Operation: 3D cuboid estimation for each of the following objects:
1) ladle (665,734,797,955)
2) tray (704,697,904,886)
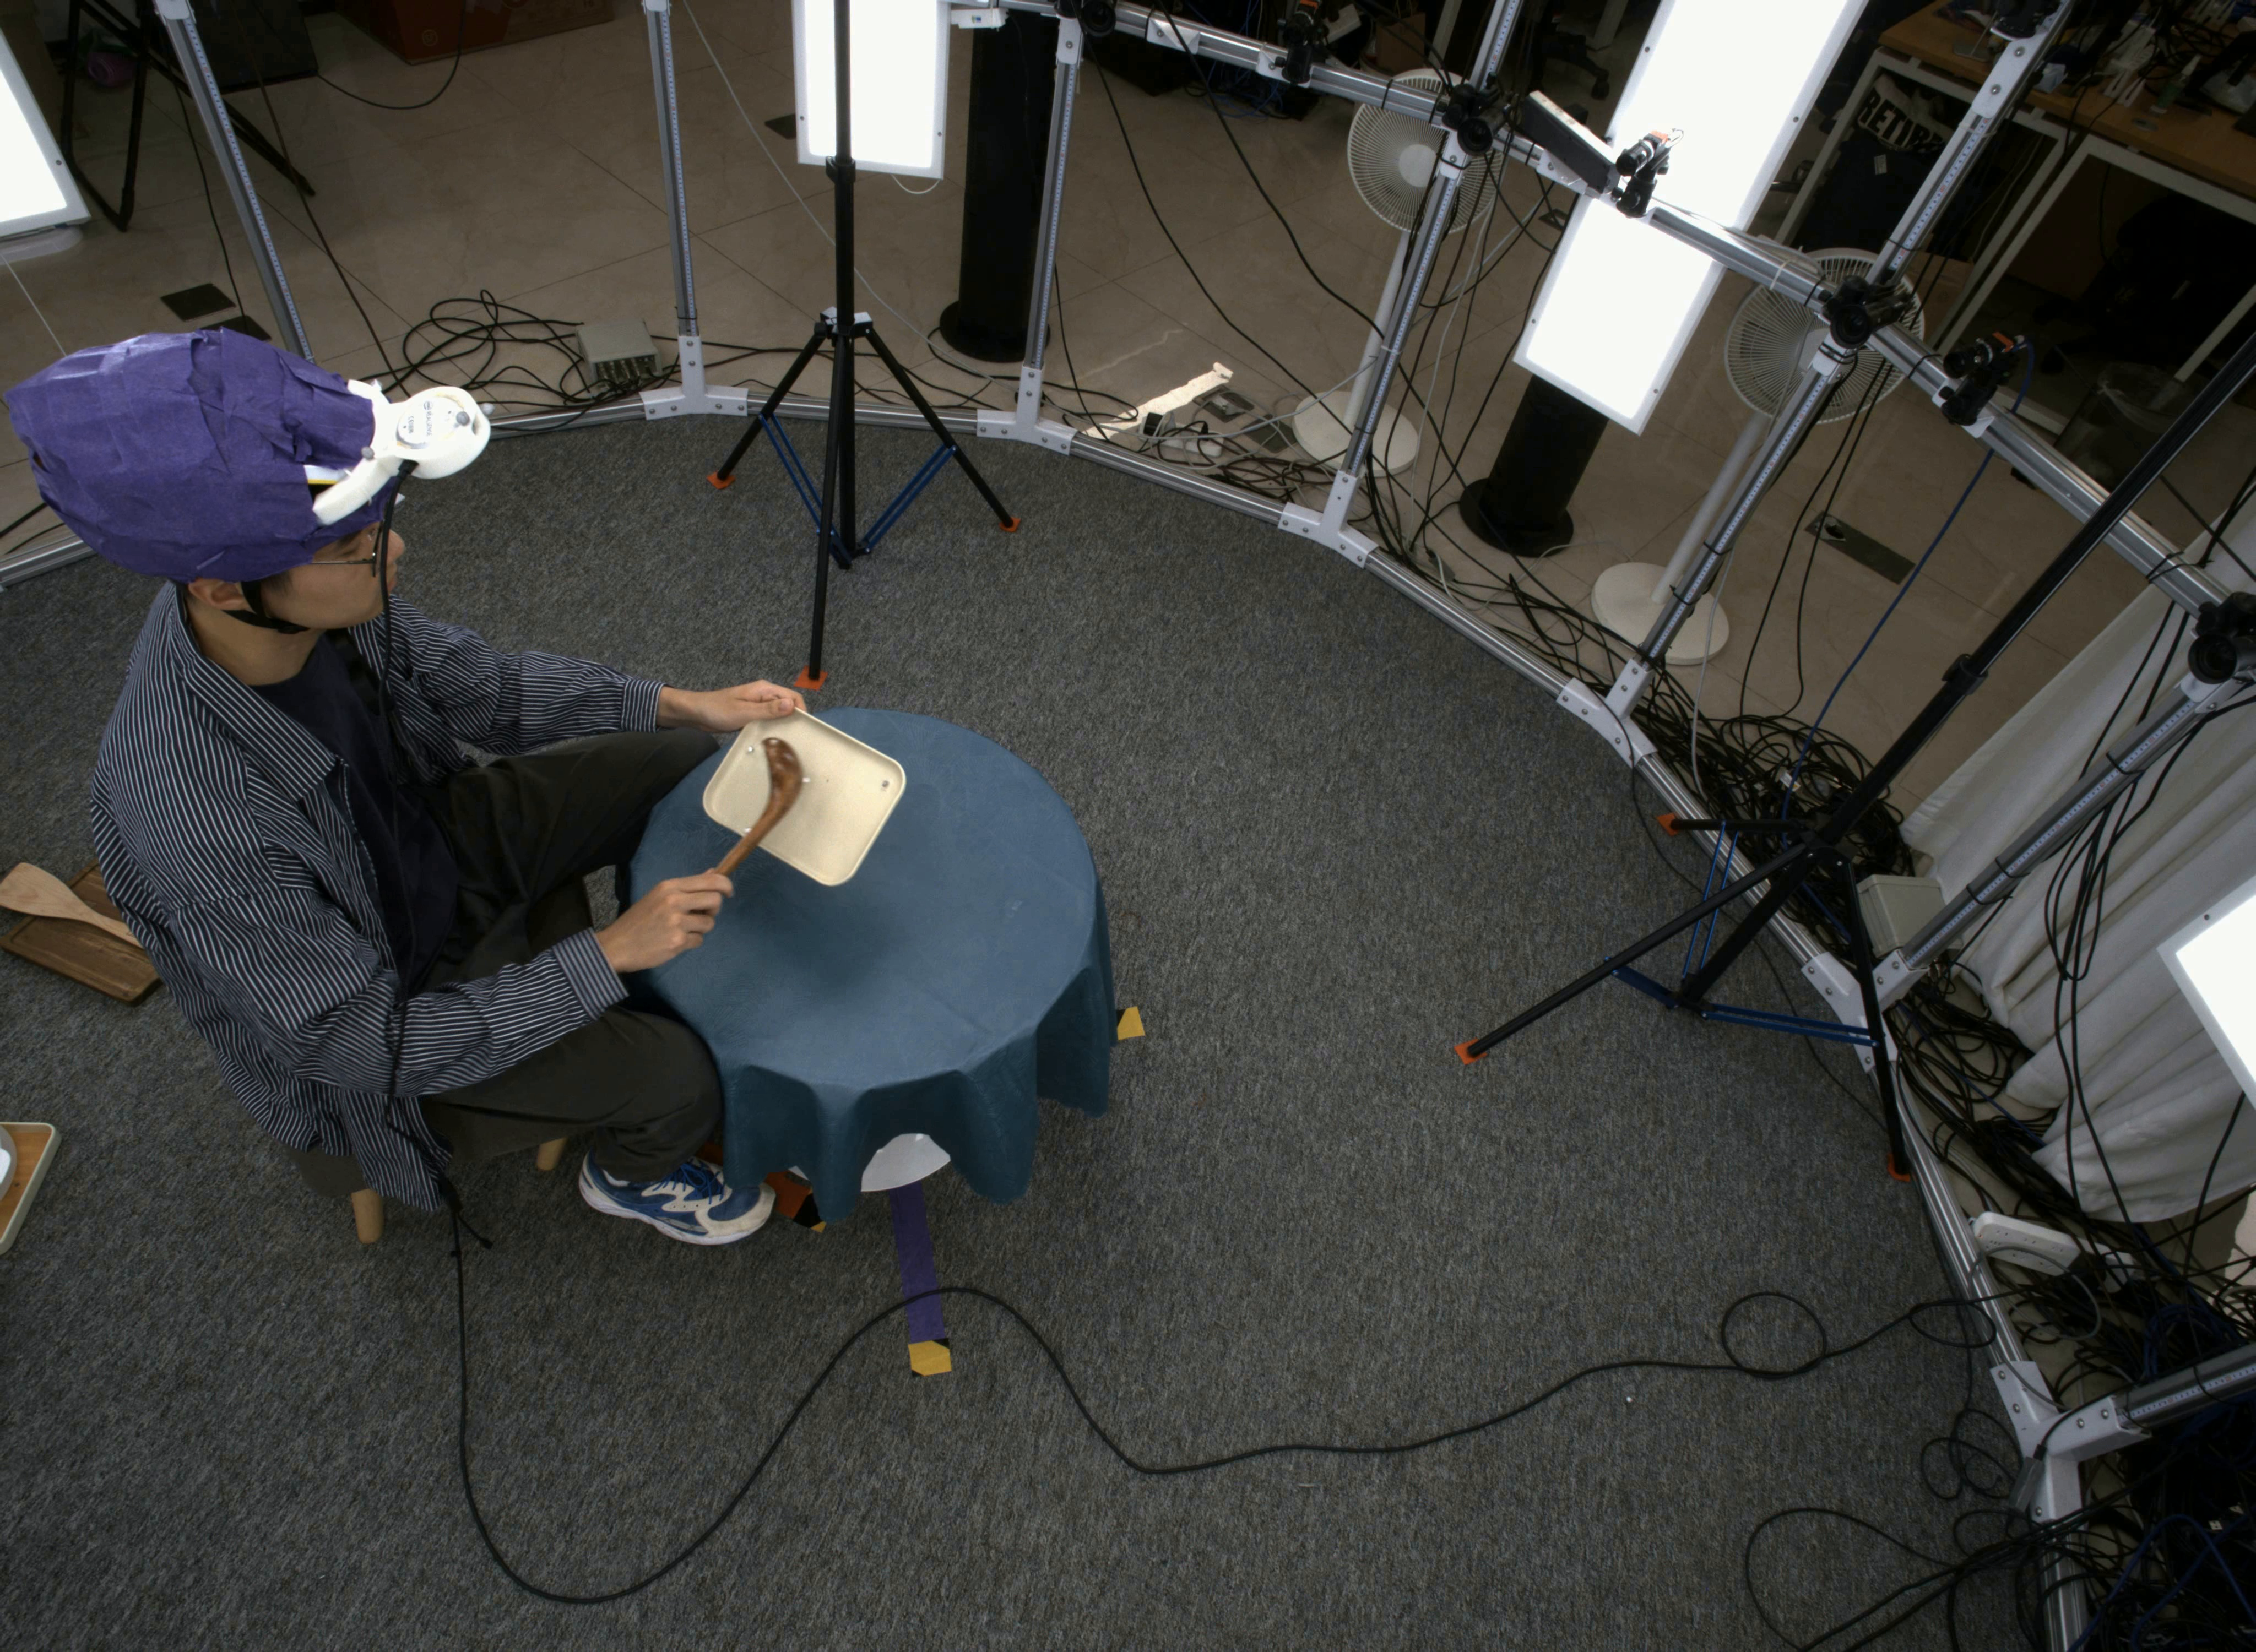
[{"bbox_3d":[-0.468,0.014,1.481,0.074,0.084,0.274,23,68,23],"label":"ladle"},{"bbox_3d":[-0.392,-0.043,1.567,0.233,0.018,0.172,27,84,18],"label":"tray"}]
